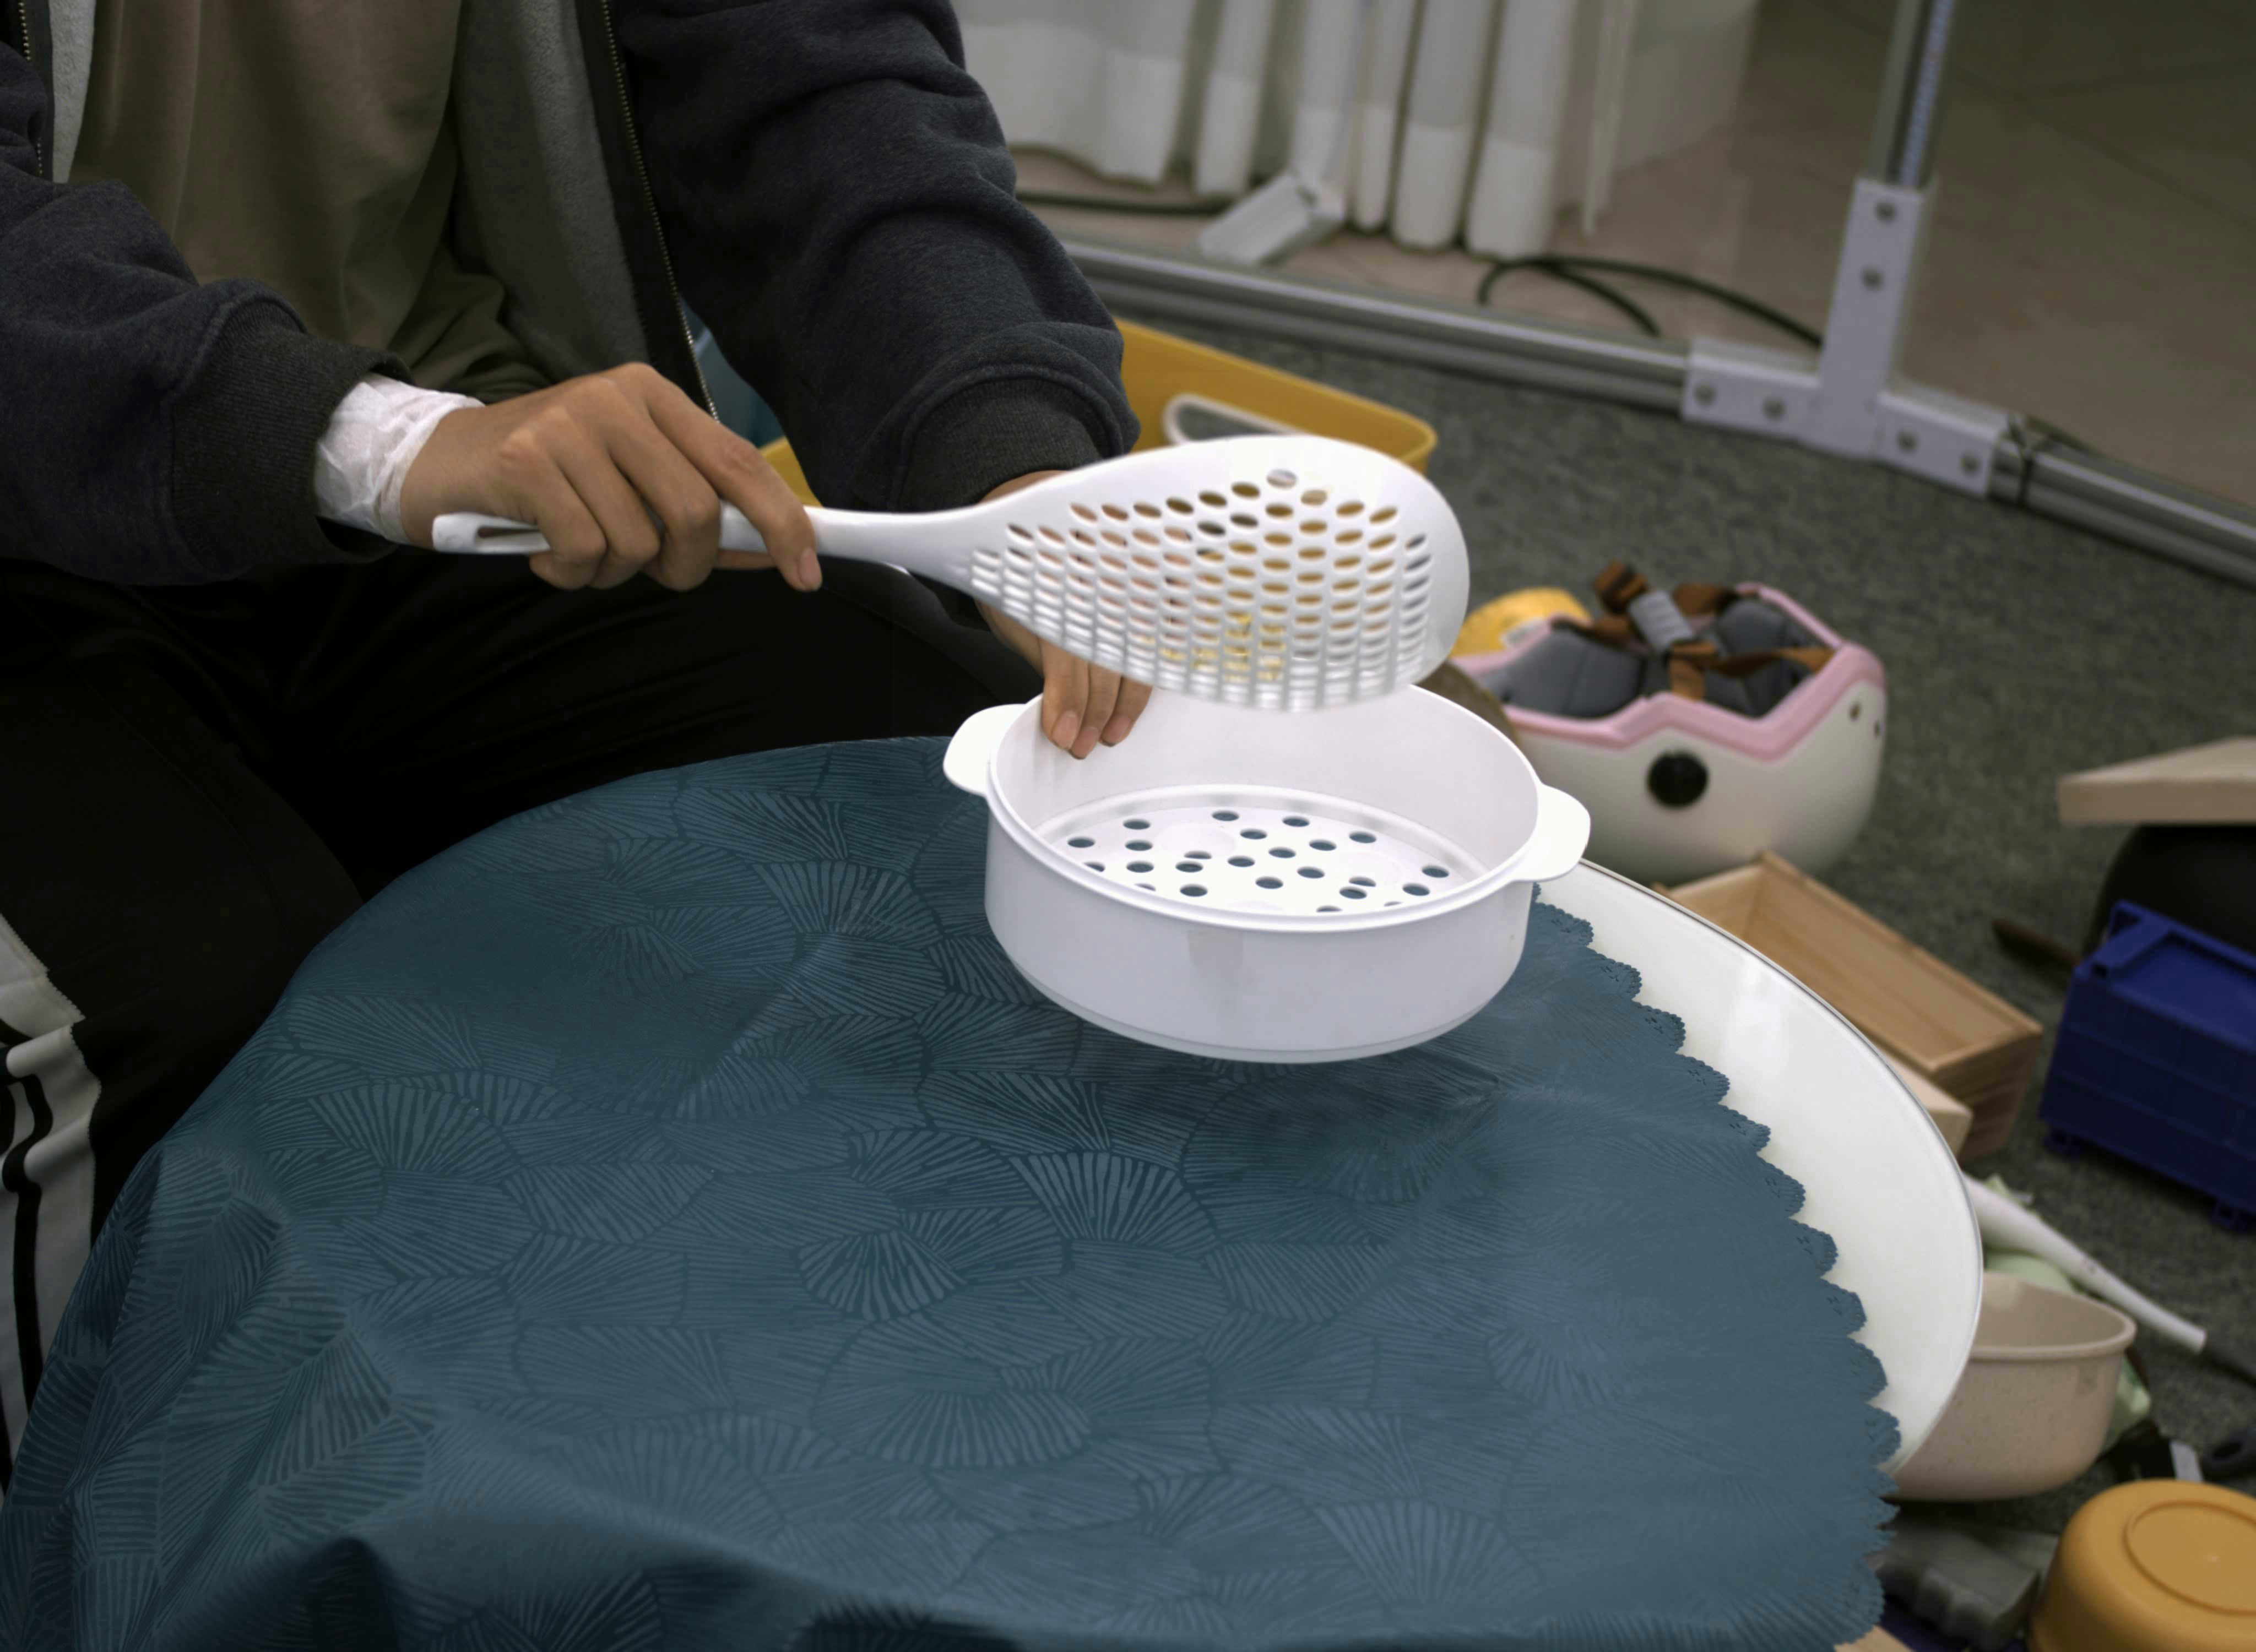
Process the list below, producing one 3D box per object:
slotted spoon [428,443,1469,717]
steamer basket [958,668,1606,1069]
[{"bbox_3d":[-0.060,-0.085,1.790,0.347,0.136,0.050,9,54,3],"label":"slotted spoon"},{"bbox_3d":[0.051,0.013,1.886,0.230,0.069,0.202,11,28,8],"label":"steamer basket"}]
